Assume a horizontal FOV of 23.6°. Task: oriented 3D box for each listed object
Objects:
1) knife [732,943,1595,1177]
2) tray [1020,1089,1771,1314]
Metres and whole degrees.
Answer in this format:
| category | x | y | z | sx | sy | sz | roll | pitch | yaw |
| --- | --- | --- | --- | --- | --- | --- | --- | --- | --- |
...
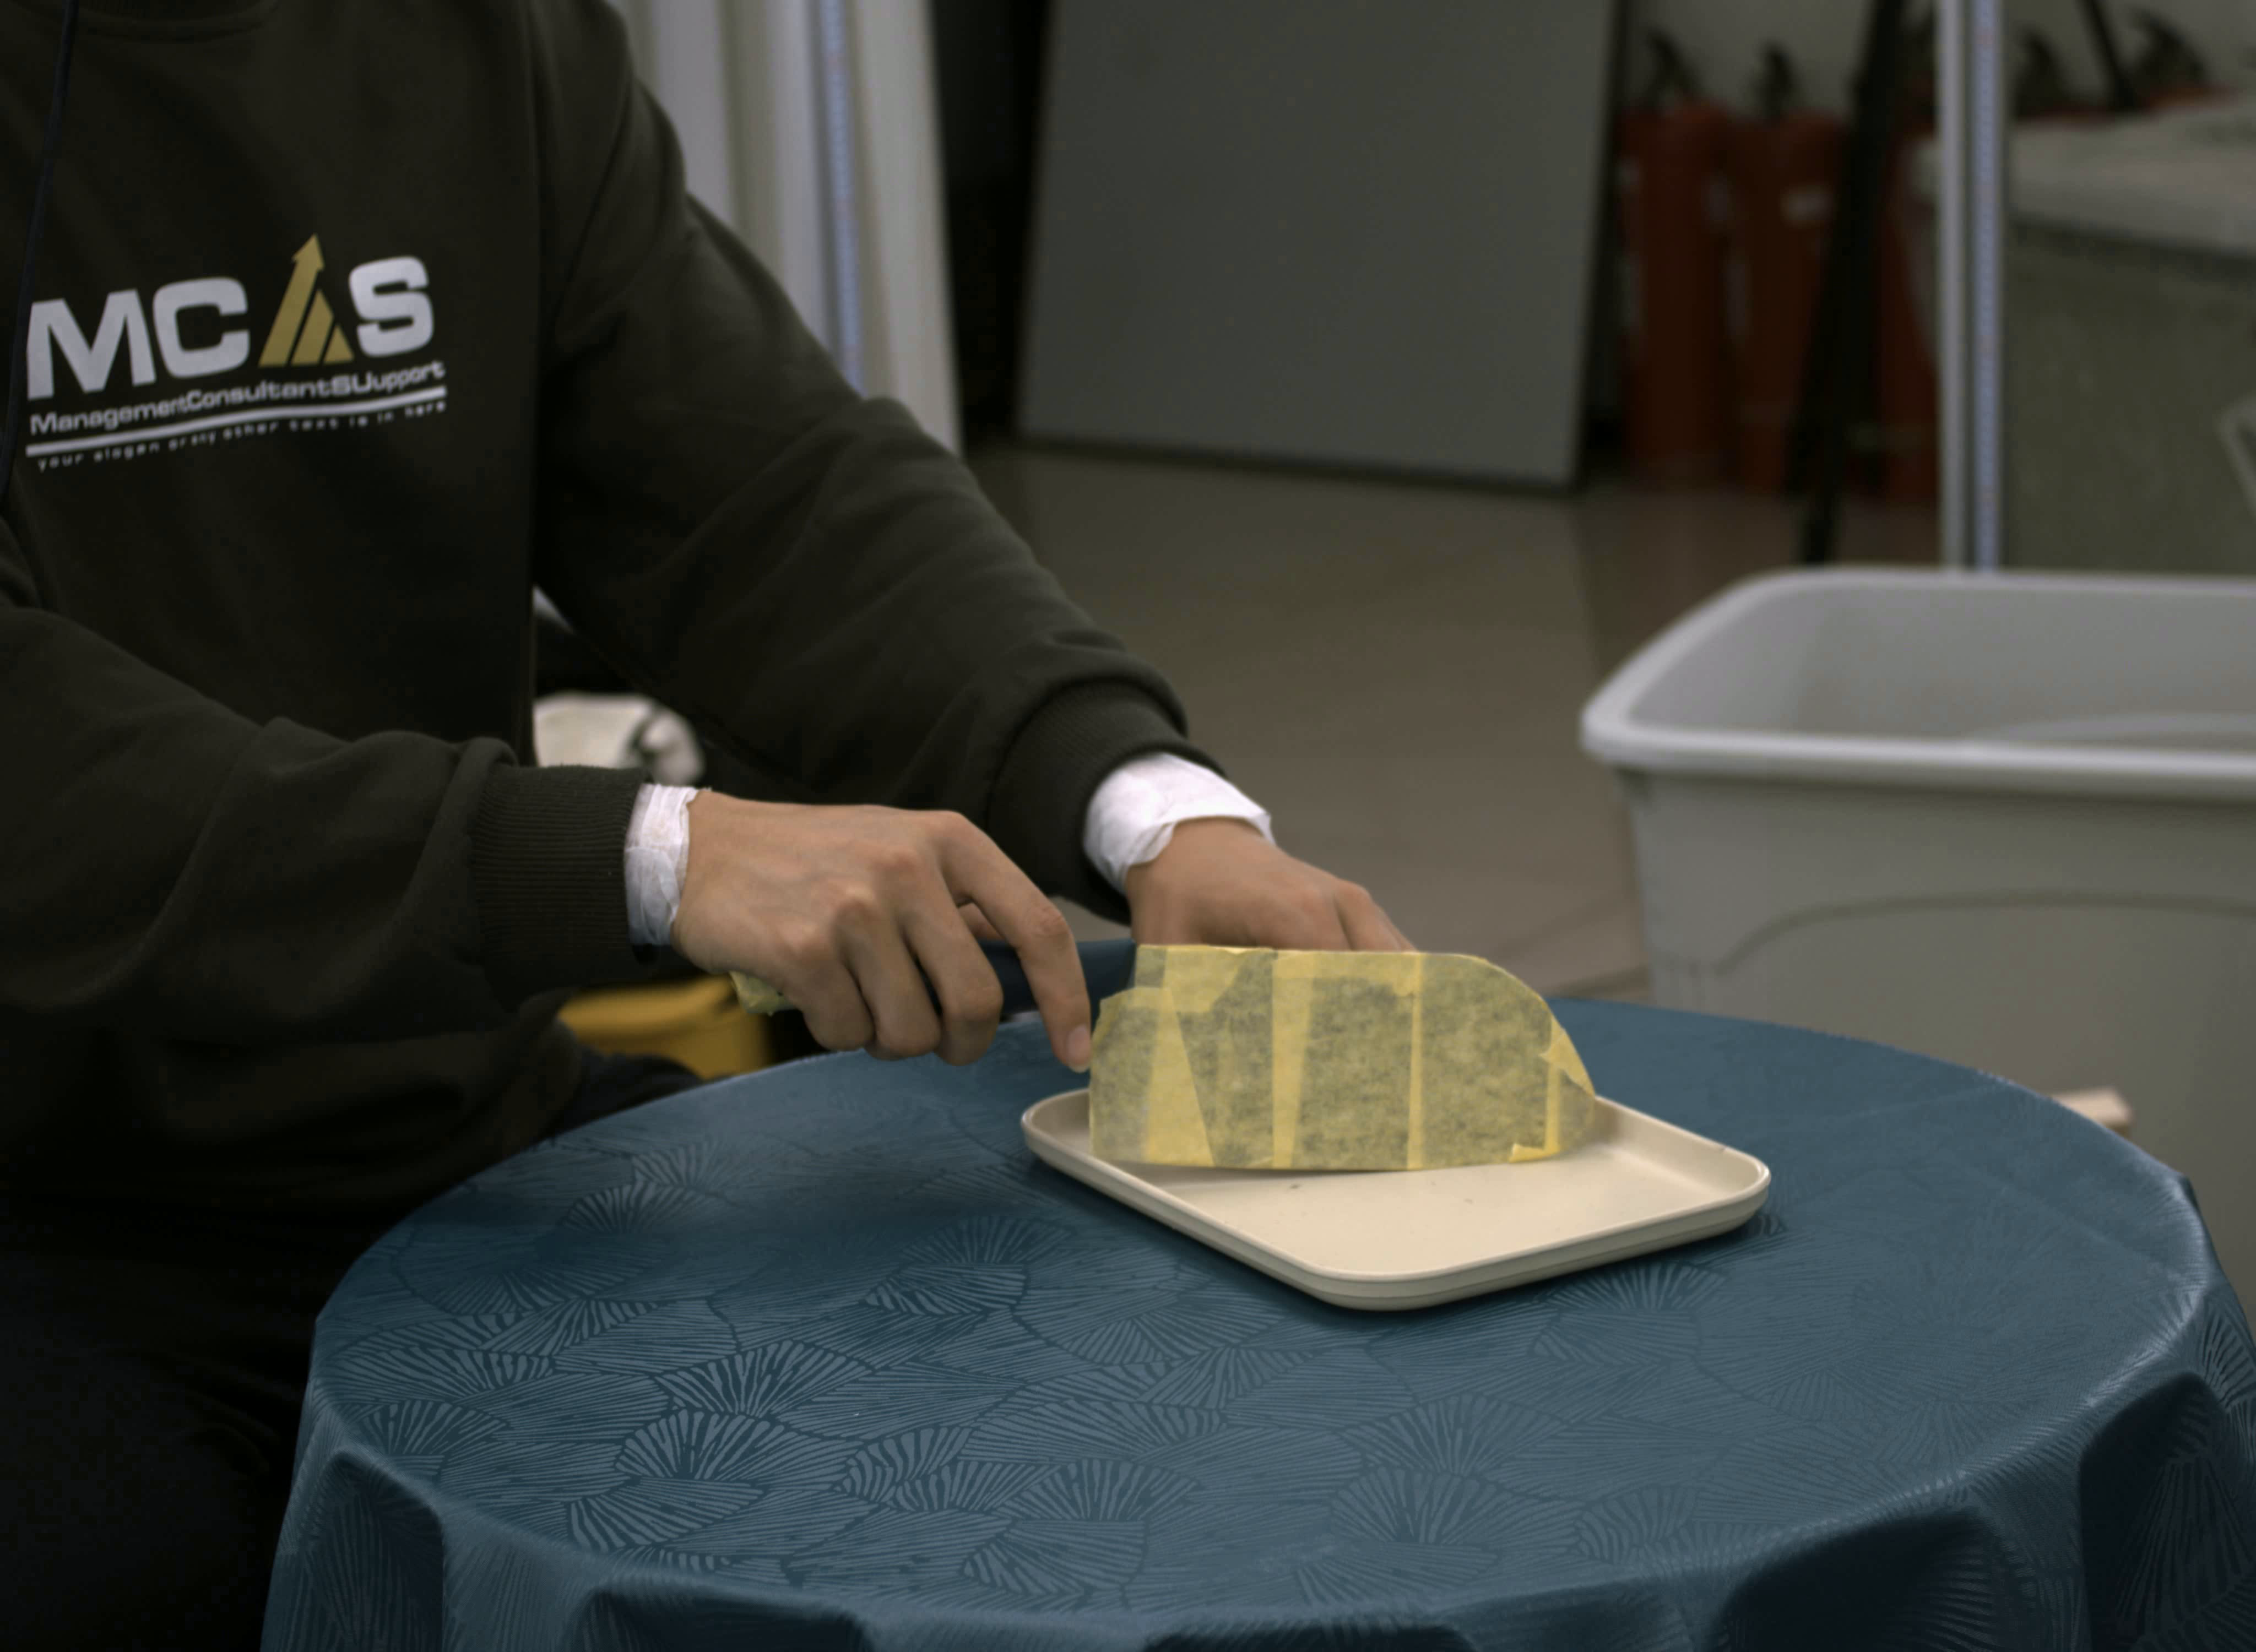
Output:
| category | x | y | z | sx | sy | sz | roll | pitch | yaw |
| --- | --- | --- | --- | --- | --- | --- | --- | --- | --- |
| knife | 0.012 | 0.074 | 1.768 | 0.286 | 0.082 | 0.027 | 4 | -5 | 1 |
| tray | 0.084 | 0.112 | 1.752 | 0.167 | 0.017 | 0.242 | -12 | 15 | -27 |
